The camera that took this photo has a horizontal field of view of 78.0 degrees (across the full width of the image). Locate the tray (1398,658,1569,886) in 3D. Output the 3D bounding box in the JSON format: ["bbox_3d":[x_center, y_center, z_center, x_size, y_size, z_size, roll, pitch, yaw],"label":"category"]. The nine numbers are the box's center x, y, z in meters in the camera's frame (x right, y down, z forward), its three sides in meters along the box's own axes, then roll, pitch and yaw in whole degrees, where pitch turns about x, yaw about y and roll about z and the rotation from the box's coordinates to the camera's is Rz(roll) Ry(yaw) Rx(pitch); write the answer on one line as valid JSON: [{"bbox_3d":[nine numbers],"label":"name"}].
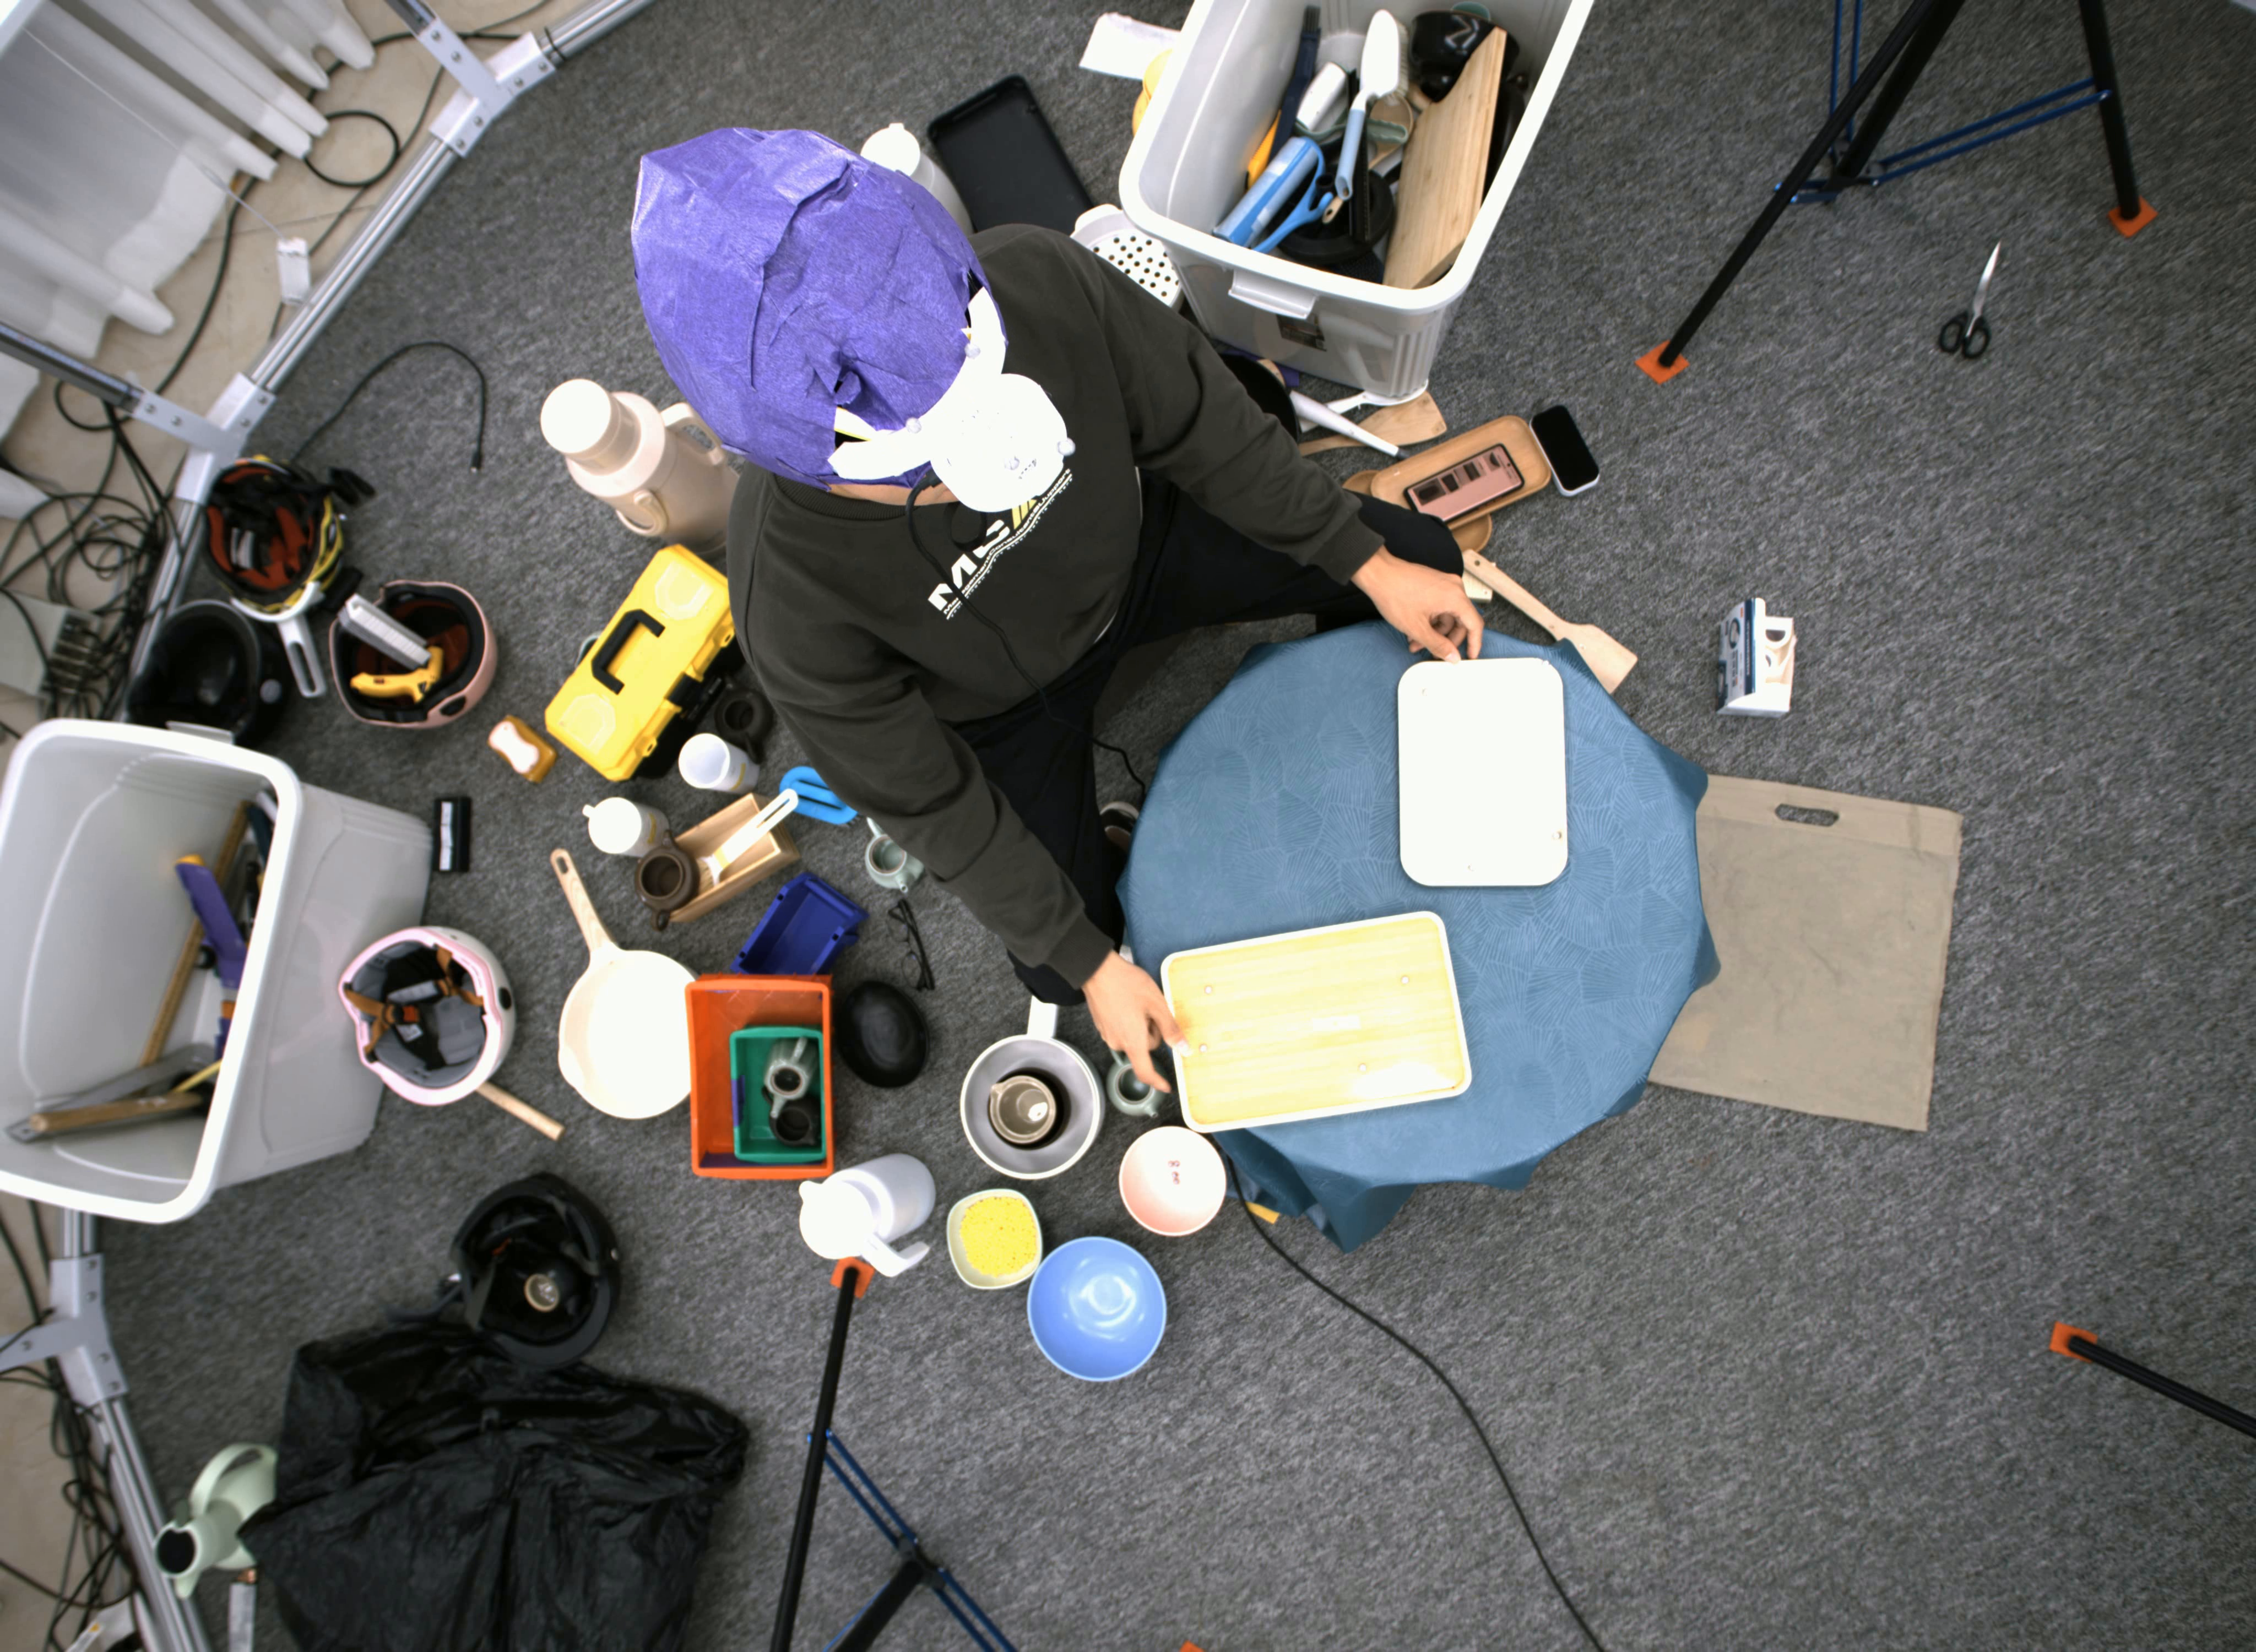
[{"bbox_3d":[0.371,-0.058,1.440,0.172,0.017,0.238,-1,86,11],"label":"tray"}]

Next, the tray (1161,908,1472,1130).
[{"bbox_3d":[0.195,0.201,1.452,0.302,0.027,0.190,-11,85,10],"label":"tray"}]
